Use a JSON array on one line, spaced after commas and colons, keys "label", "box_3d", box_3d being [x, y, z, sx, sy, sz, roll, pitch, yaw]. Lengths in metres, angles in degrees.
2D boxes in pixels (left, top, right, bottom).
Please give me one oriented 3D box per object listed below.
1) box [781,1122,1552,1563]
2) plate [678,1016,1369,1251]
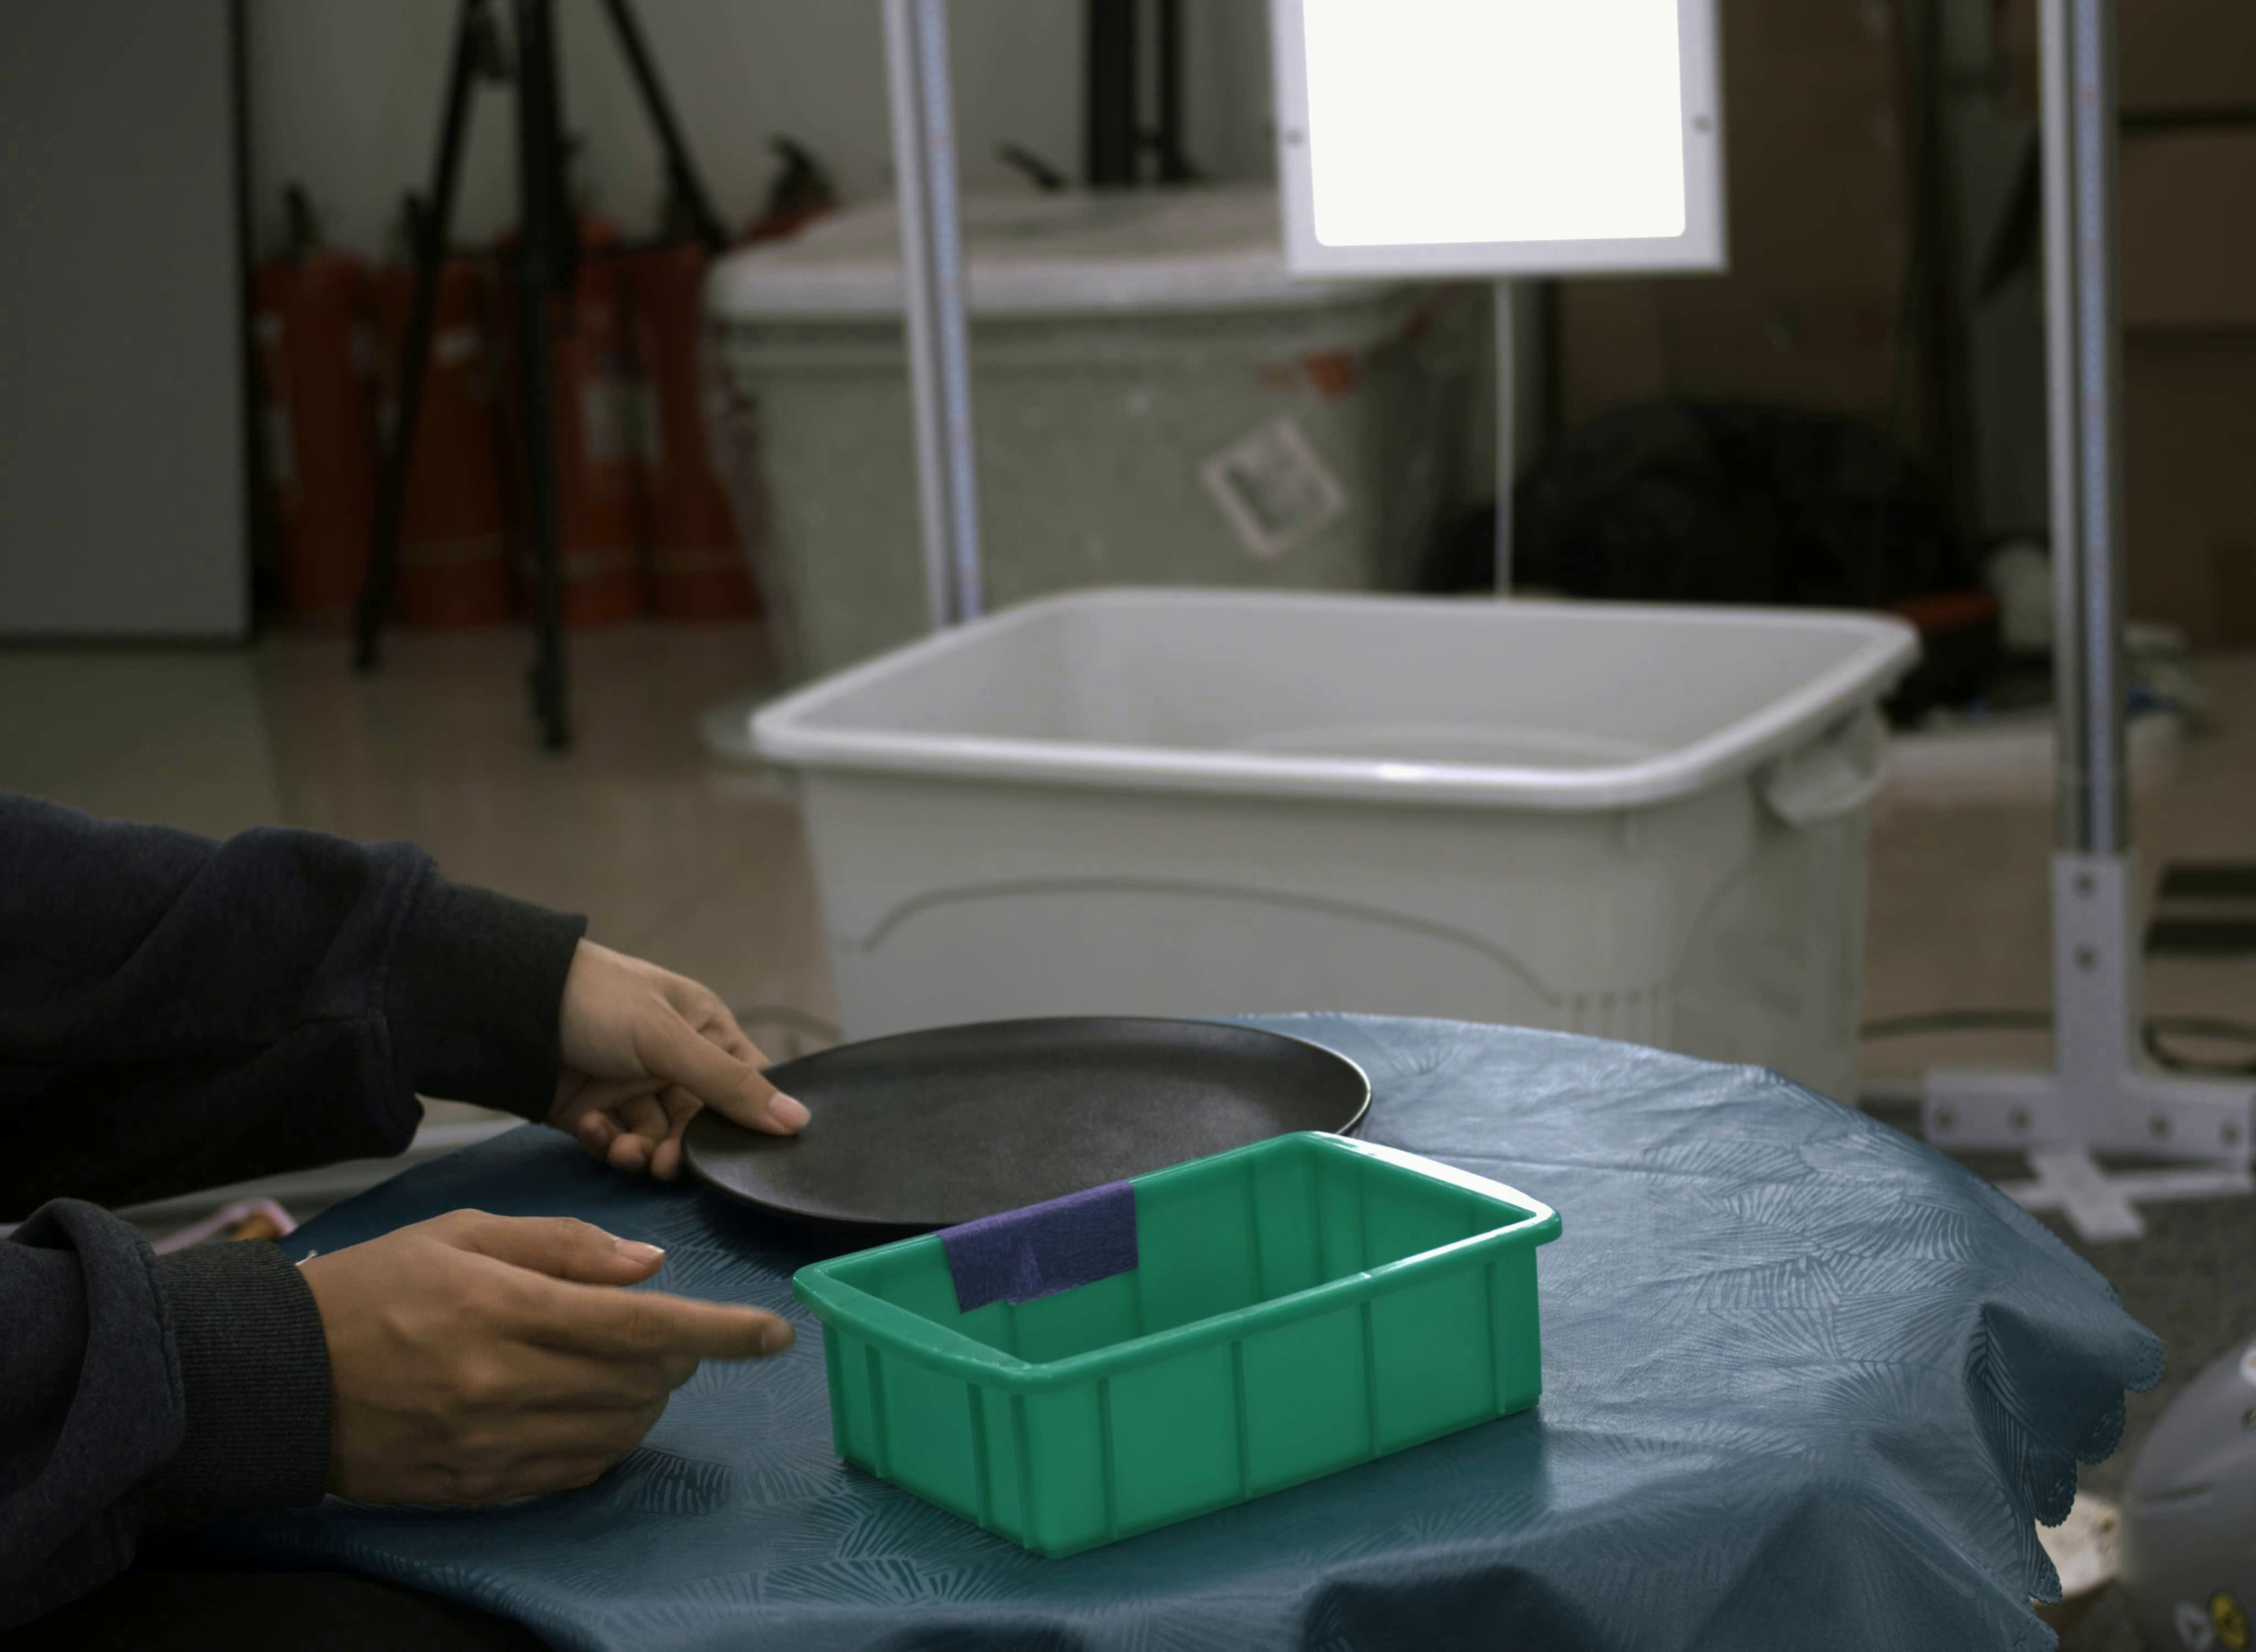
[{"label": "box", "box_3d": [0.015, 0.153, 1.649, 0.205, 0.065, 0.141, -16, 16, -31]}, {"label": "plate", "box_3d": [-0.036, 0.110, 1.929, 0.244, 0.023, 0.244, -5, 14, 0]}]
